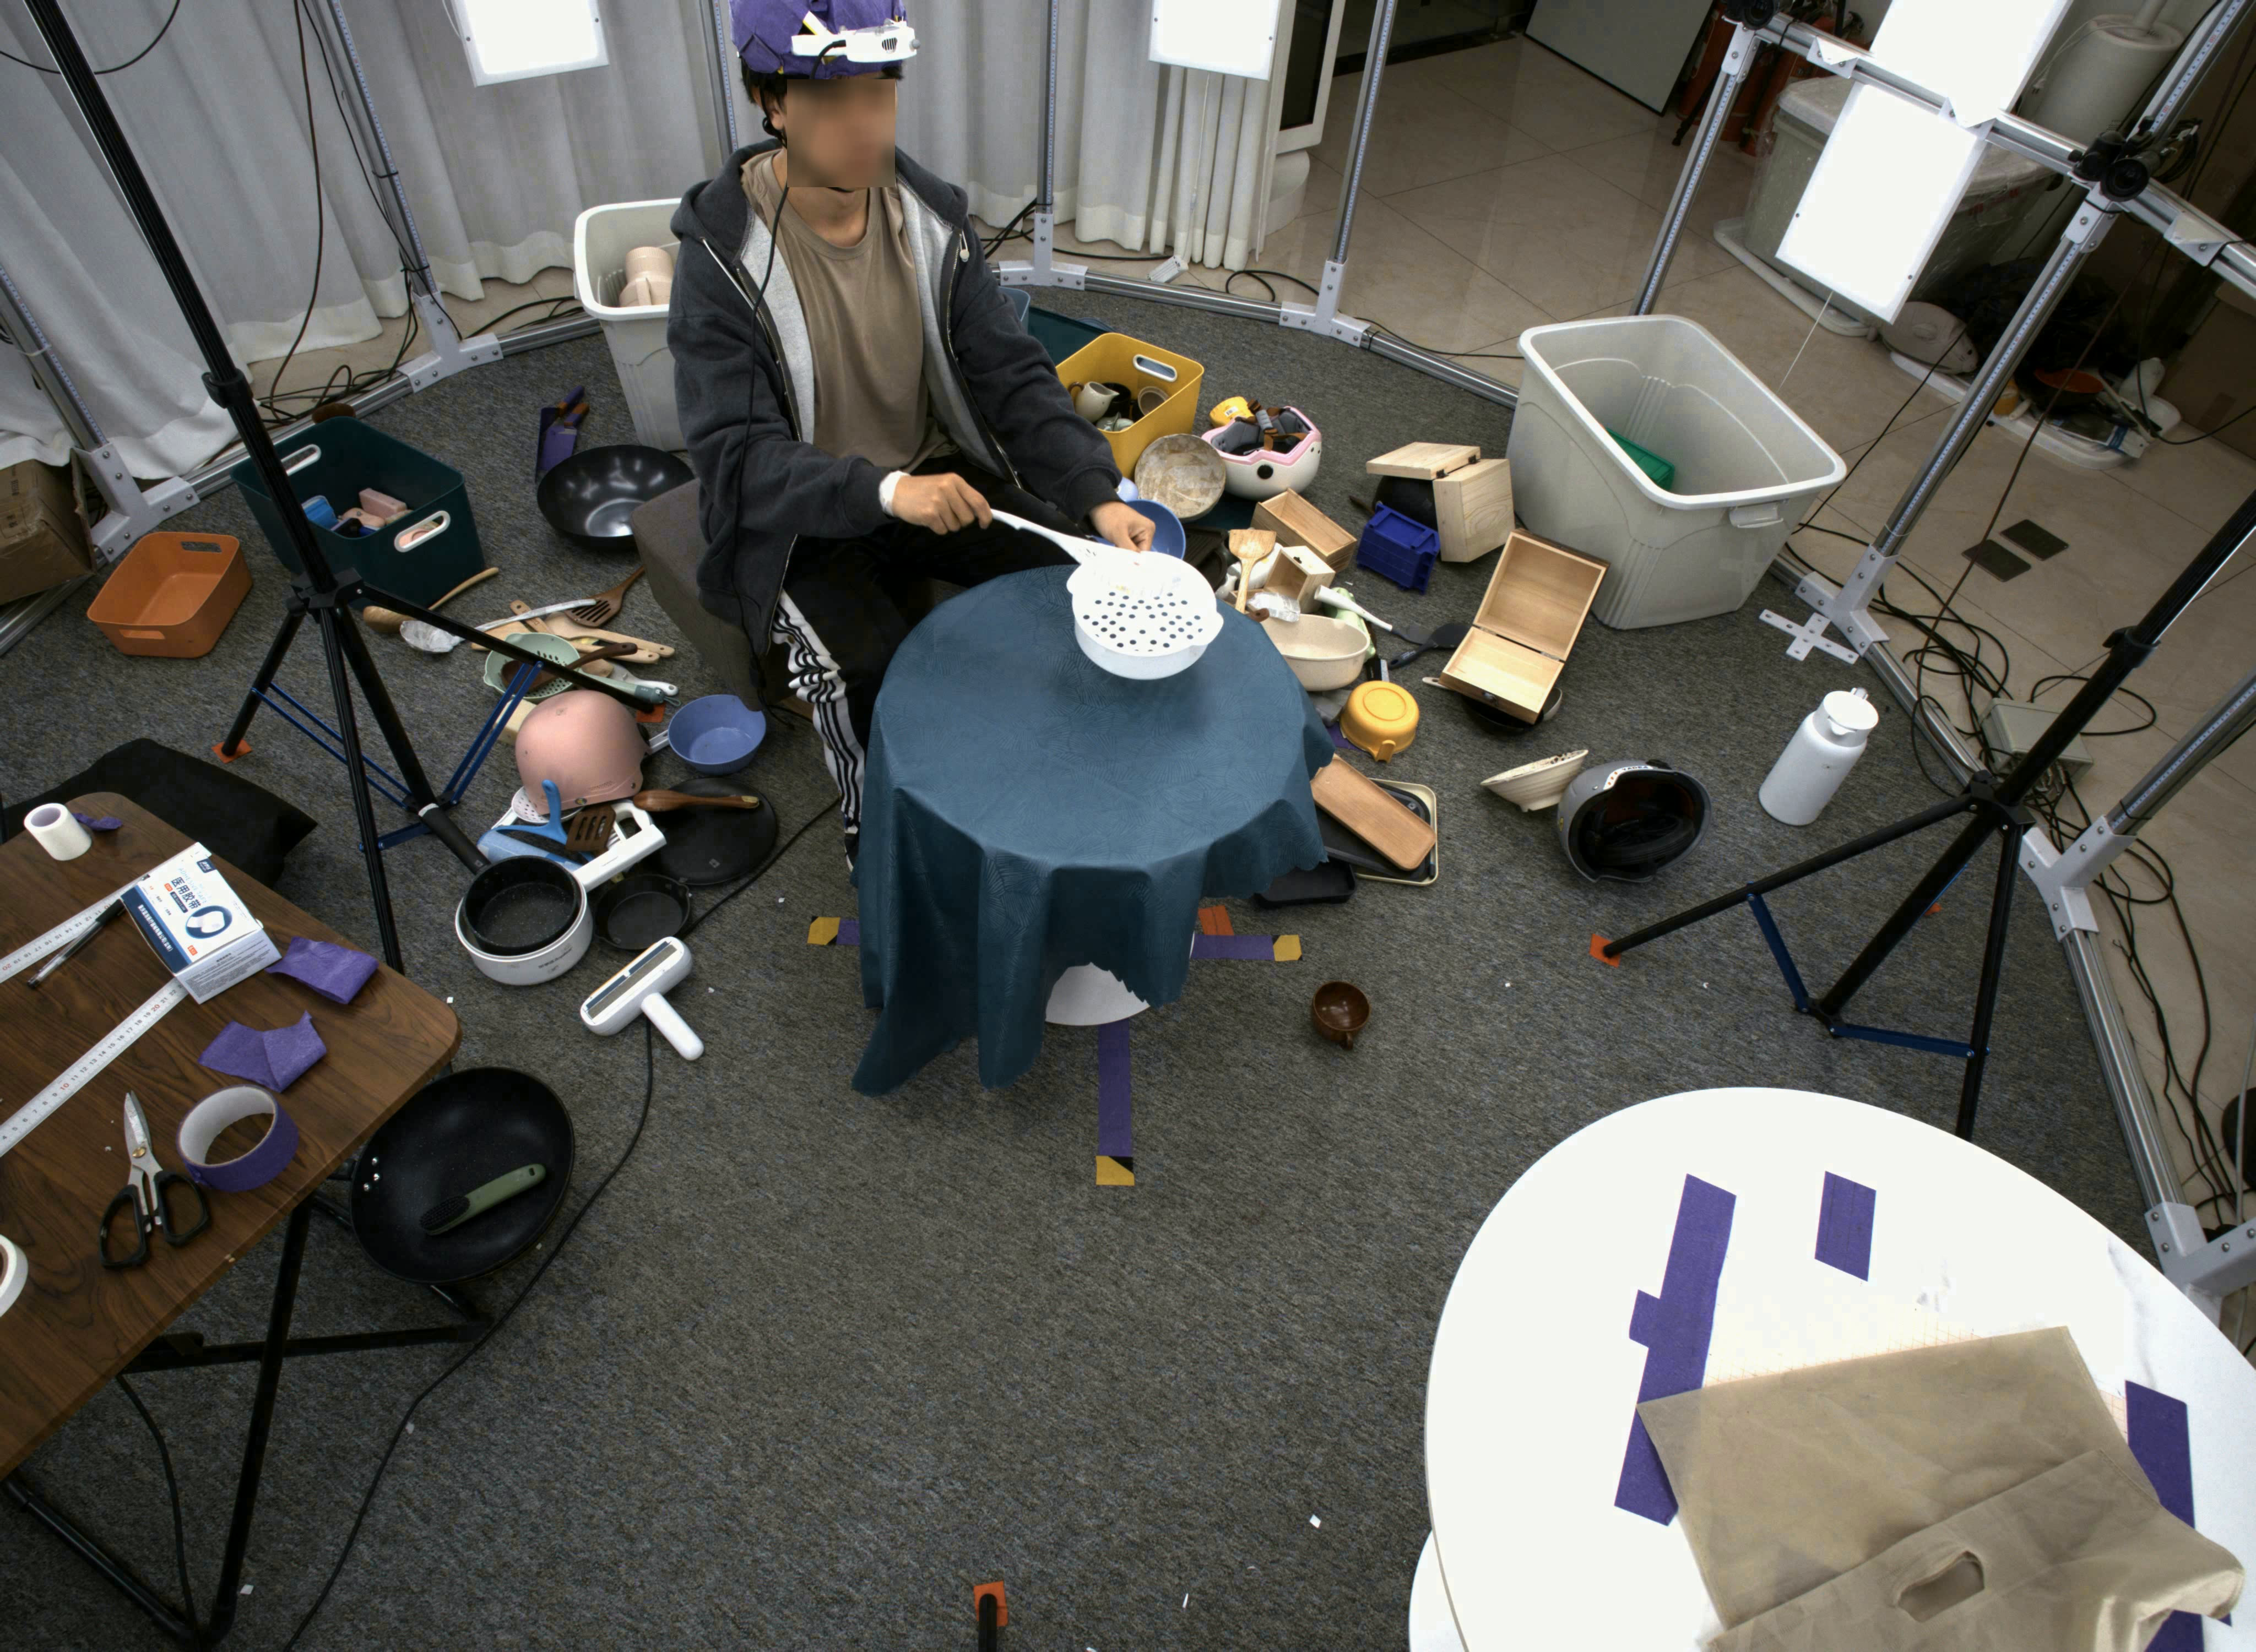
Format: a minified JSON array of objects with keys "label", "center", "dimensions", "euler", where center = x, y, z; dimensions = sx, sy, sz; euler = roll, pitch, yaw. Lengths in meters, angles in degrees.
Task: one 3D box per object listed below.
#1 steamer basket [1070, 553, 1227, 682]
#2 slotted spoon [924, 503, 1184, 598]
[{"label":"steamer basket","center":[0.026,-0.293,1.813],"dimensions":[0.232,0.067,0.205],"euler":[25,56,14]},{"label":"slotted spoon","center":[-0.094,-0.367,1.683],"dimensions":[0.347,0.137,0.050],"euler":[23,89,-3]}]
